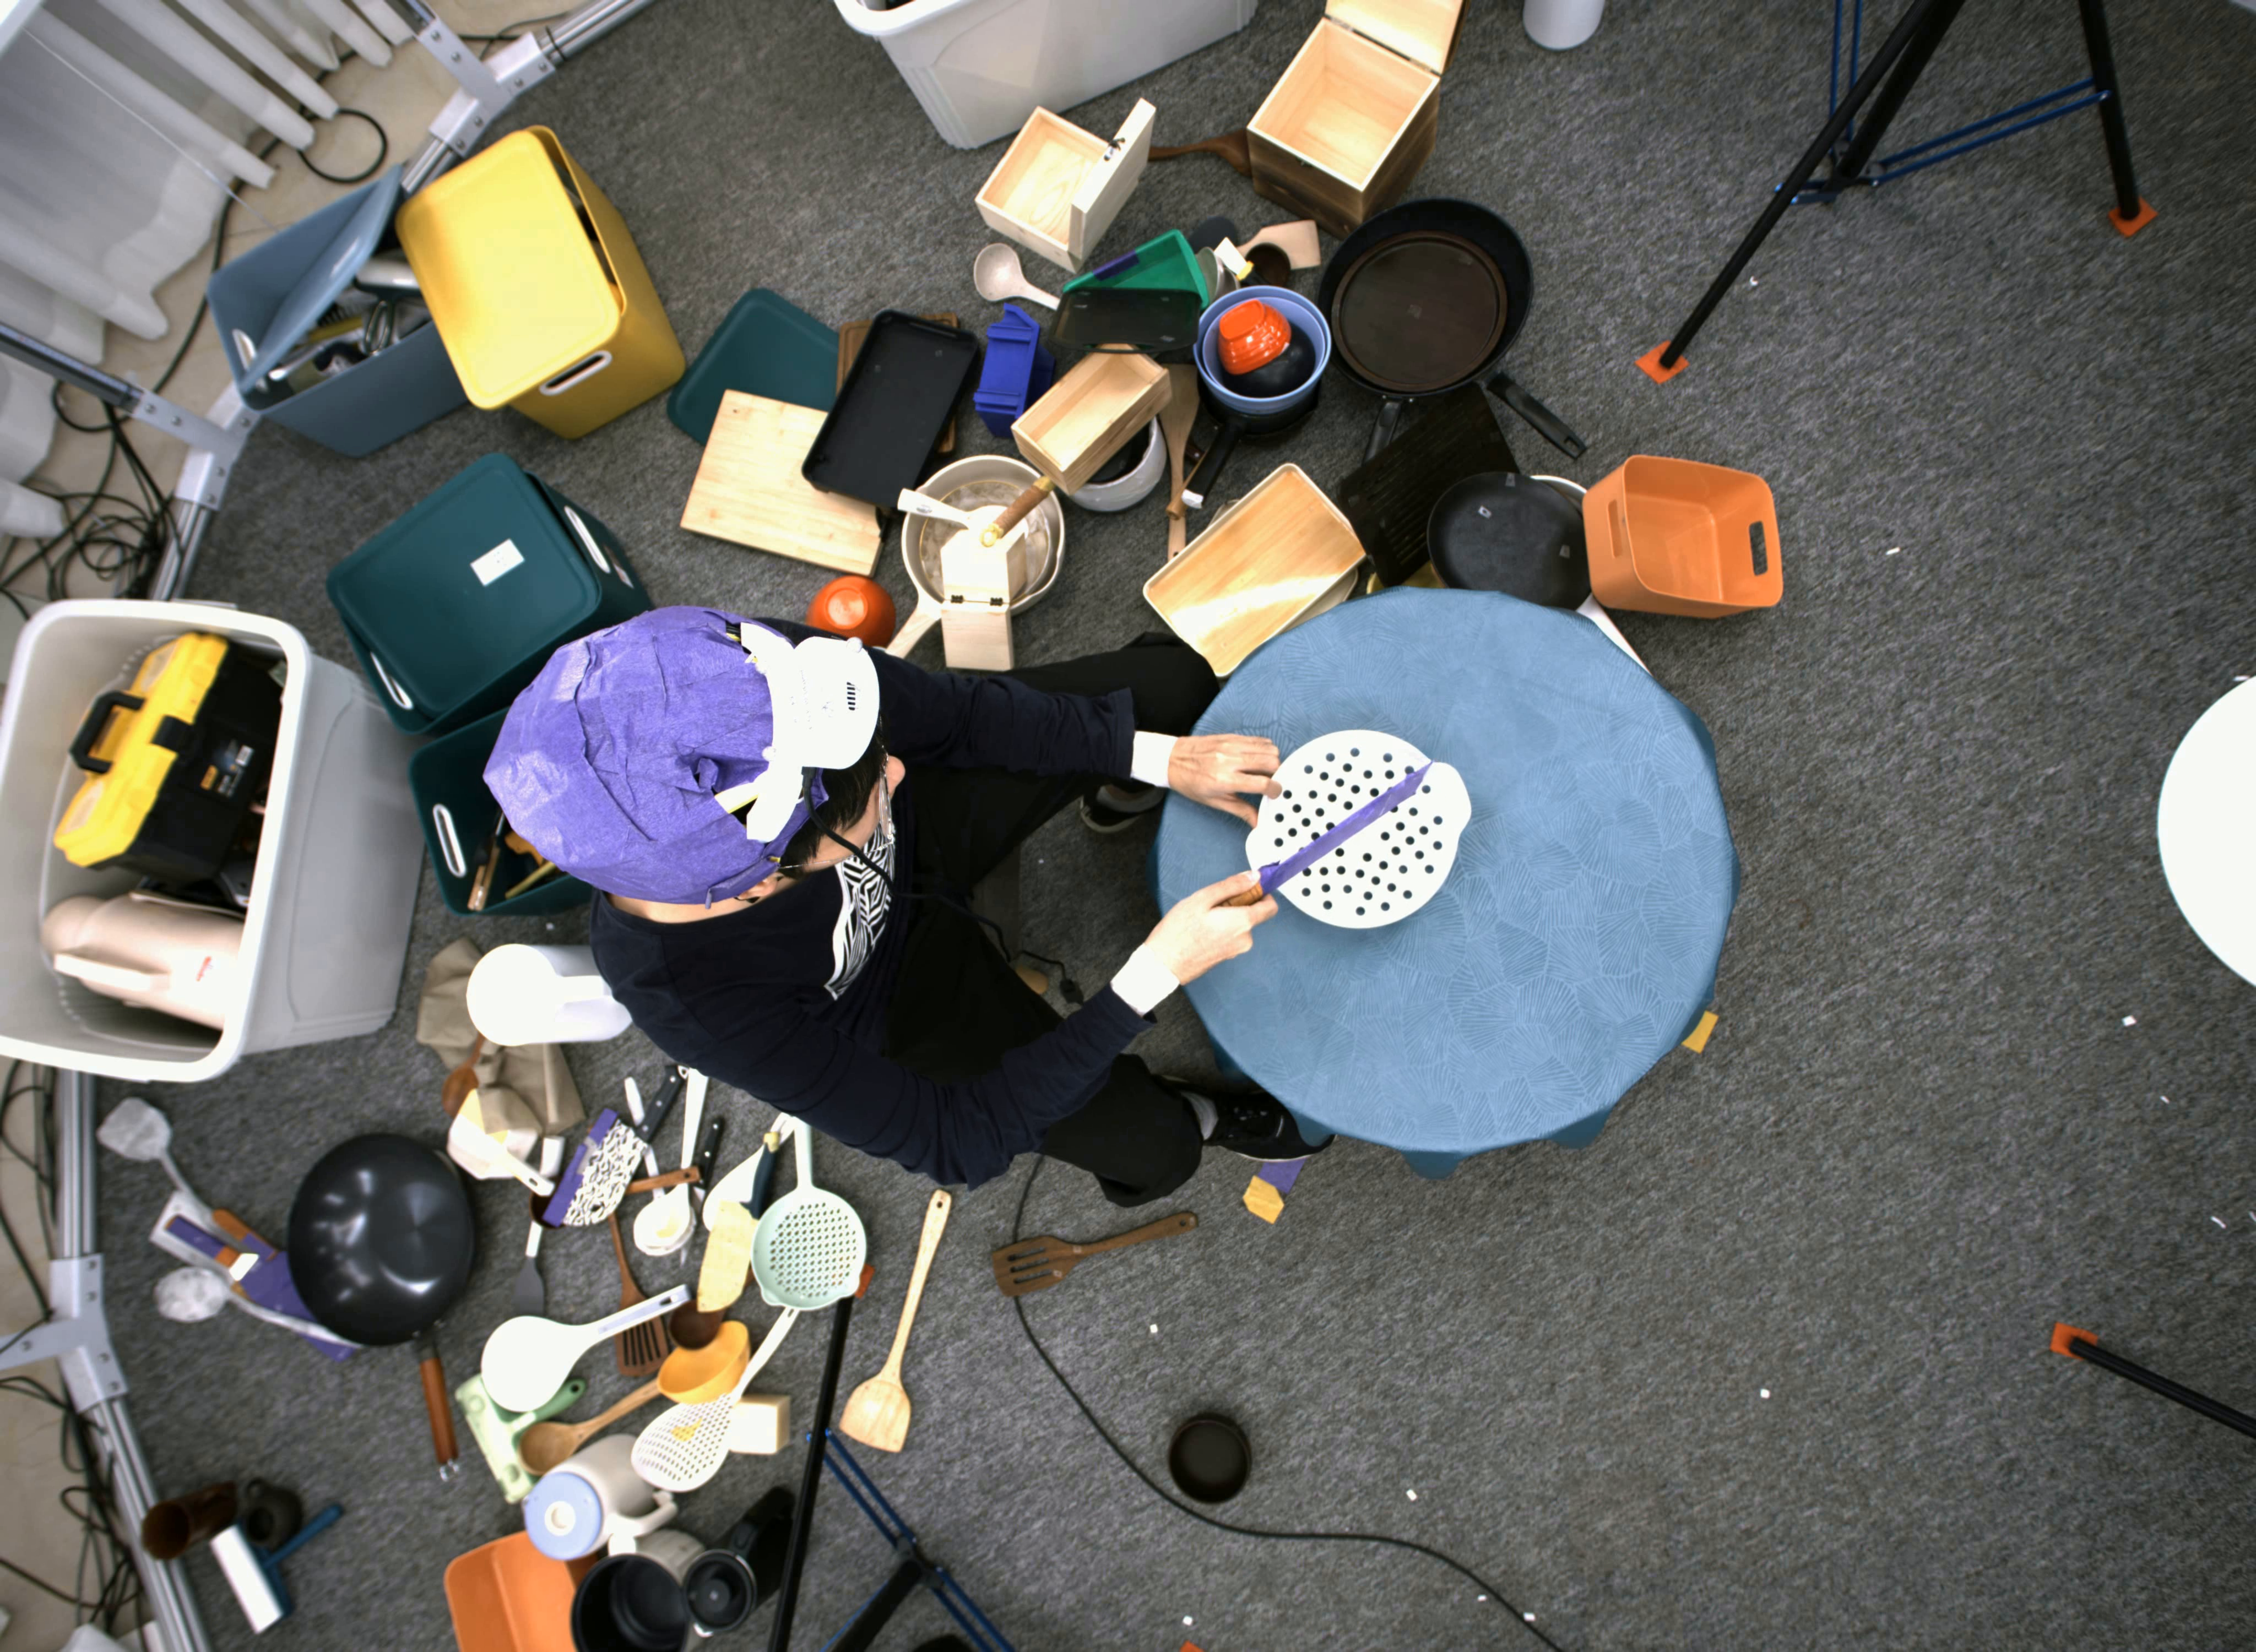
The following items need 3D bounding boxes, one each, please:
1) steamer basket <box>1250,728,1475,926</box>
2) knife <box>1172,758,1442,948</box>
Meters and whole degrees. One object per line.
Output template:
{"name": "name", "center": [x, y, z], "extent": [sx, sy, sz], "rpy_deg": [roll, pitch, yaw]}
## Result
{"name": "steamer basket", "center": [0.242, 0.001, 1.419], "extent": [0.232, 0.069, 0.201], "rpy_deg": [-21, 84, 13]}
{"name": "knife", "center": [0.179, 0.033, 1.362], "extent": [0.313, 0.105, 0.032], "rpy_deg": [-31, 73, -9]}
